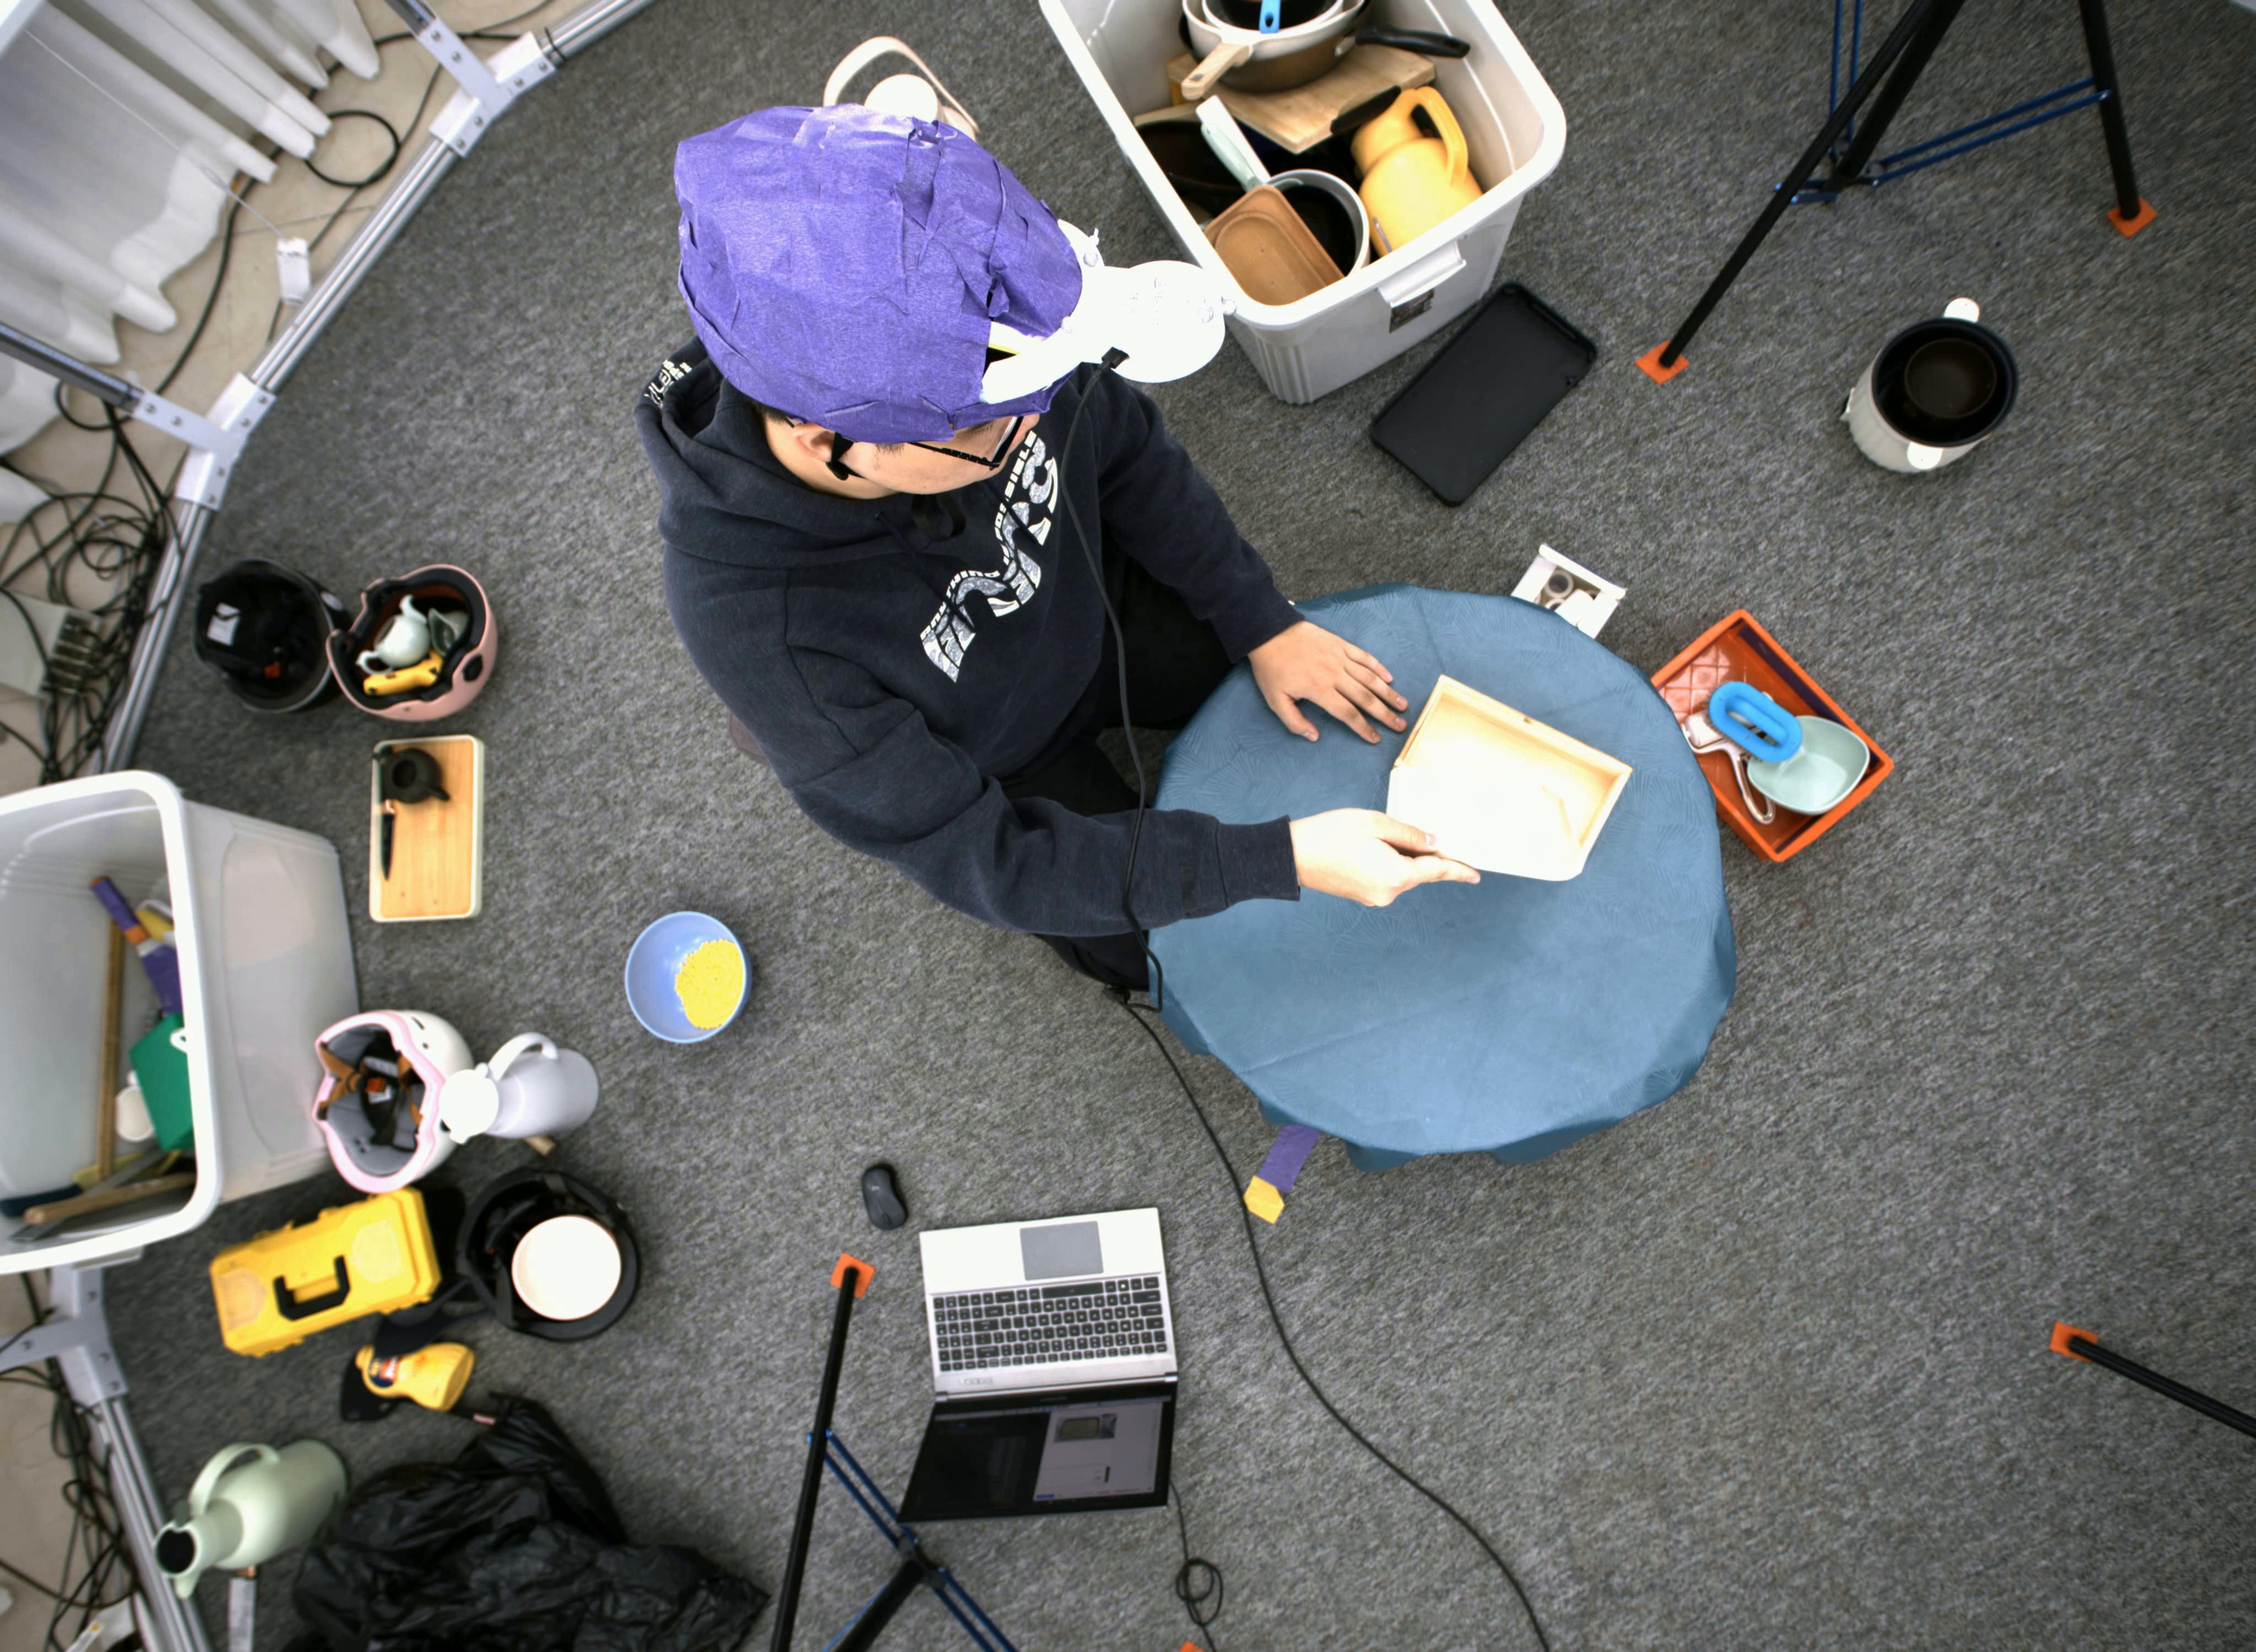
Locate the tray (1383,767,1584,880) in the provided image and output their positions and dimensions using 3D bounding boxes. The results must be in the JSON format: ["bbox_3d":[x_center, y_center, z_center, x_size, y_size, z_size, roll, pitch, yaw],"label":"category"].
[{"bbox_3d":[0.319,-0.007,1.251,0.171,0.235,0.018,8,111,10],"label":"tray"}]

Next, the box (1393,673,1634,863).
[{"bbox_3d":[0.390,-0.059,1.405,0.211,0.080,0.107,28,90,11],"label":"box"}]
